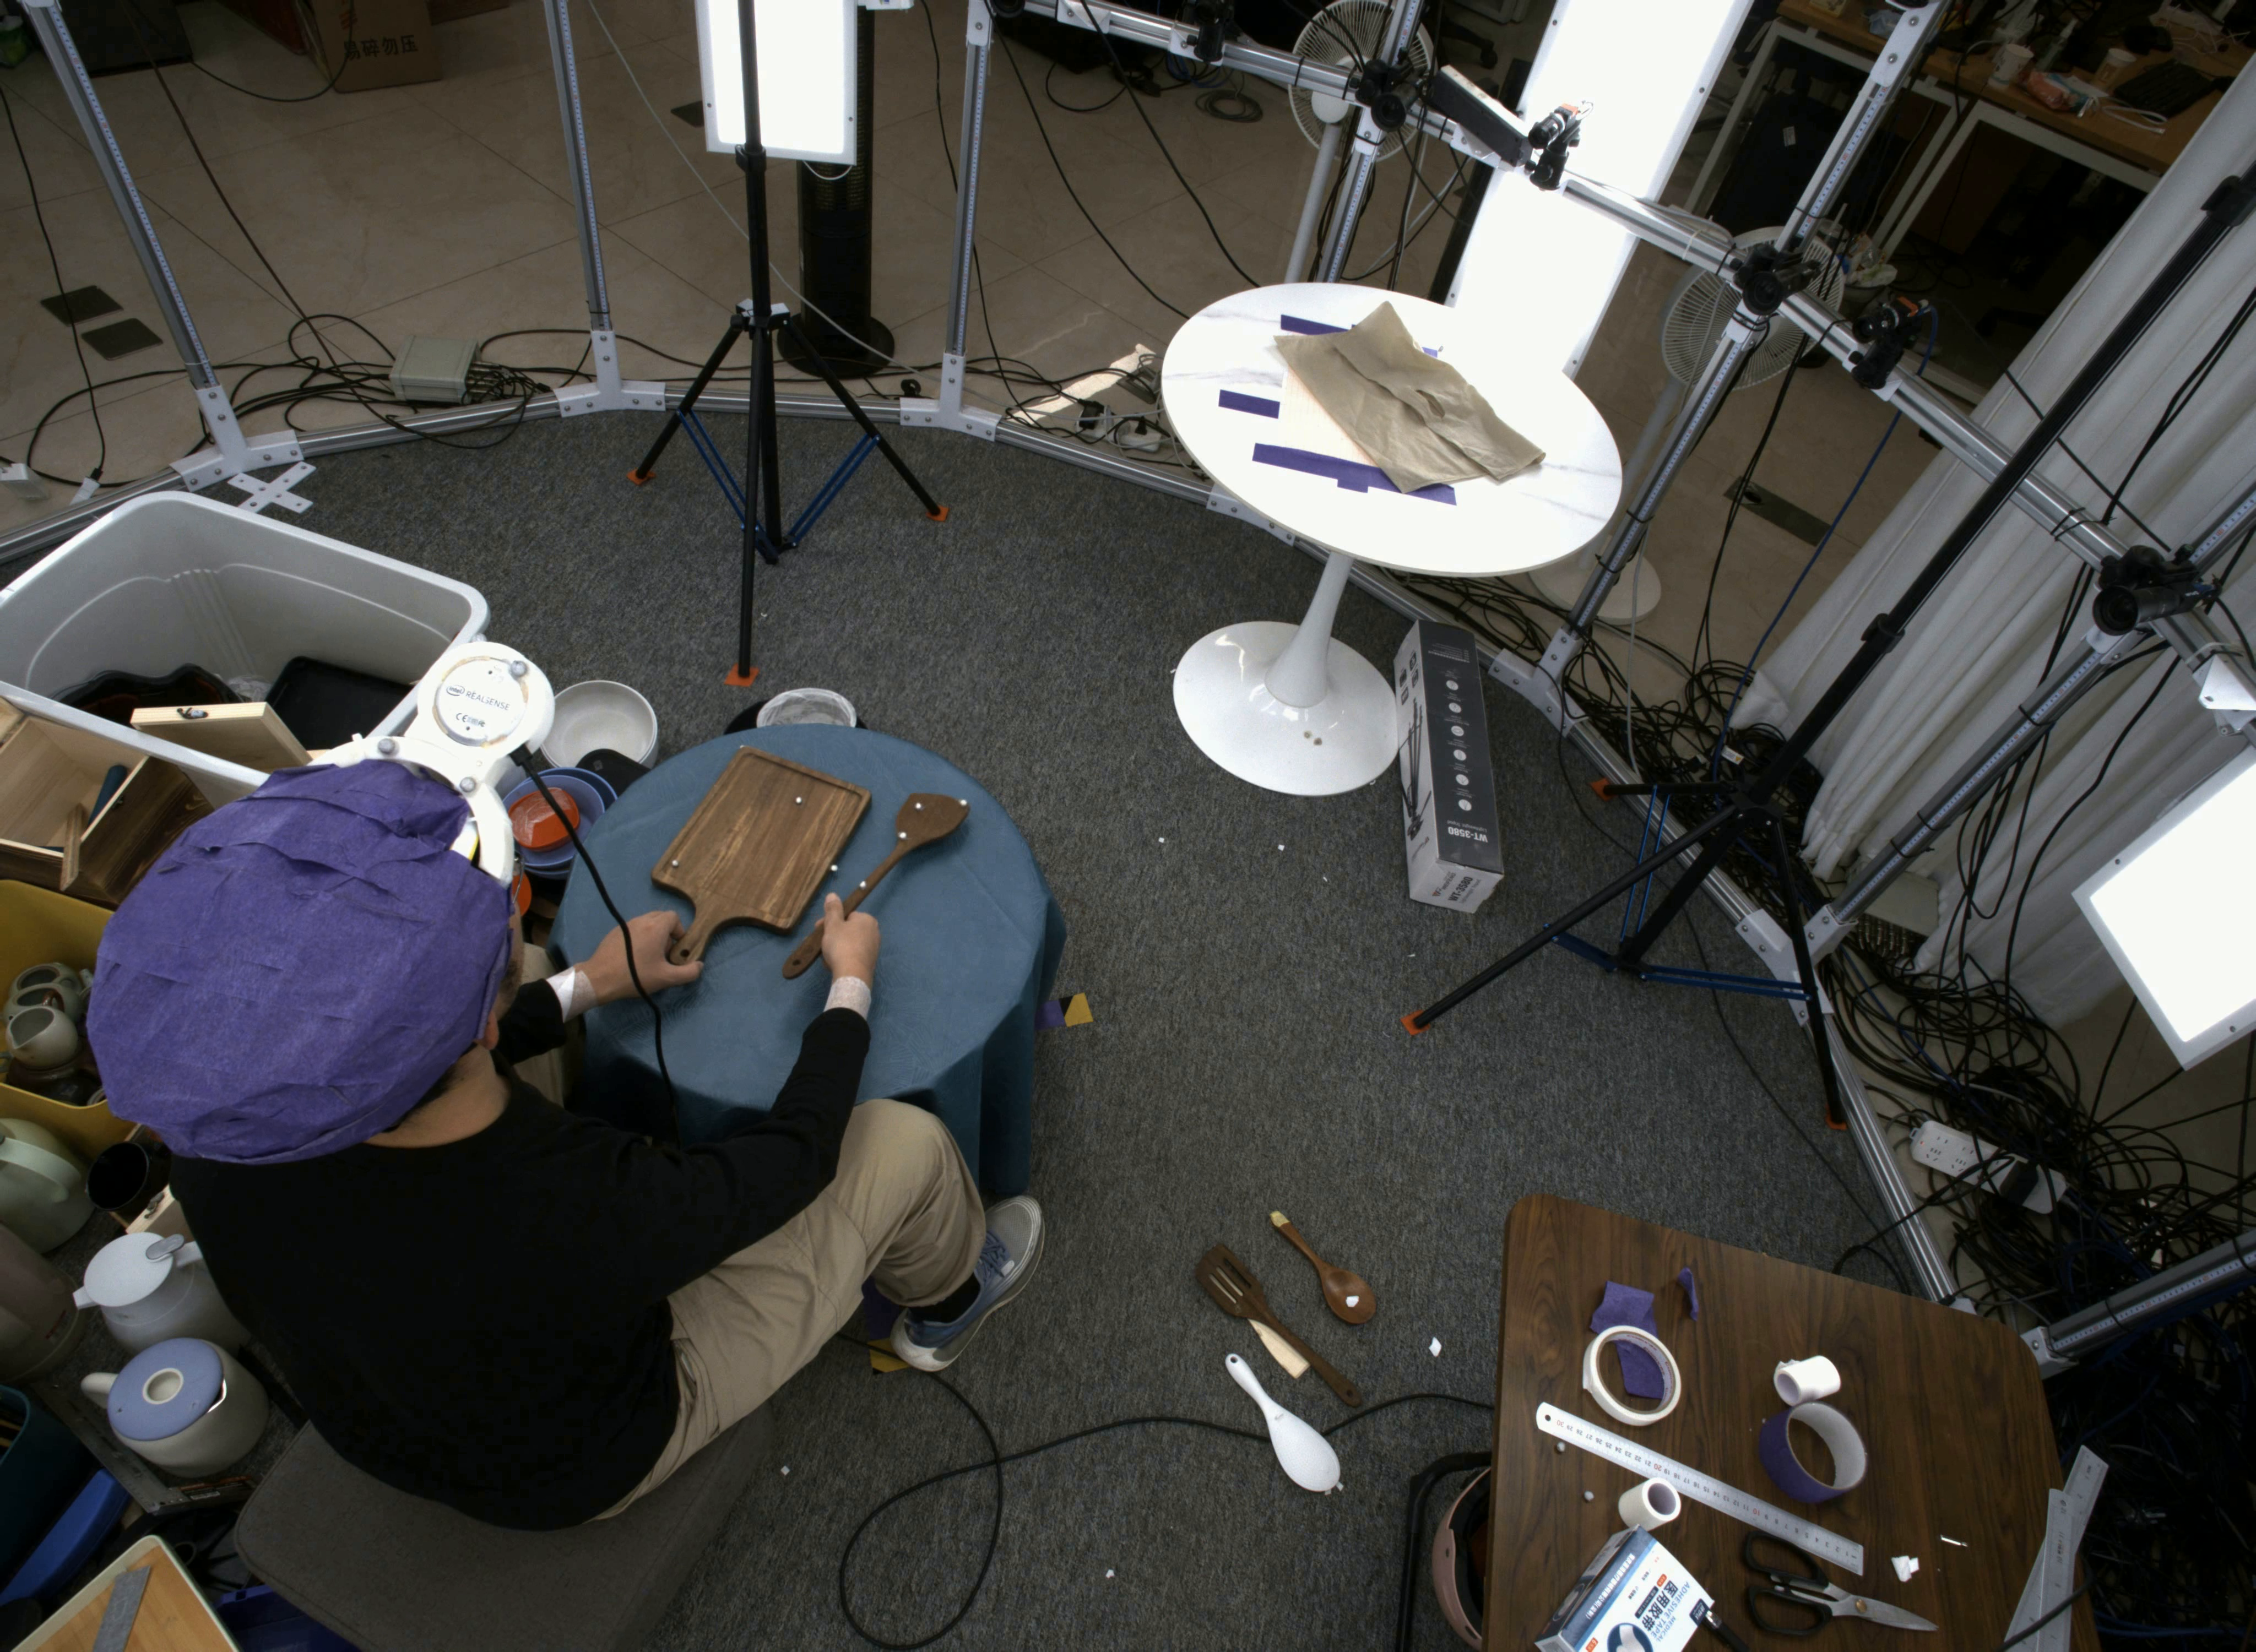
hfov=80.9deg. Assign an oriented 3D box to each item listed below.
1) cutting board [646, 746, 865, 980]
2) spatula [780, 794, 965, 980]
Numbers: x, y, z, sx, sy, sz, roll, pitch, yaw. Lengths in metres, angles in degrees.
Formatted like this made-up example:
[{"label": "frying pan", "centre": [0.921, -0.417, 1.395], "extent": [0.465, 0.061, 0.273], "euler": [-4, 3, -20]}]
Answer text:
[{"label": "cutting board", "centre": [-0.493, 0.048, 1.648], "extent": [0.199, 0.023, 0.348], "euler": [20, 51, 1]}, {"label": "spatula", "centre": [-0.325, 0.065, 1.636], "extent": [0.093, 0.016, 0.383], "euler": [11, 38, 19]}]
